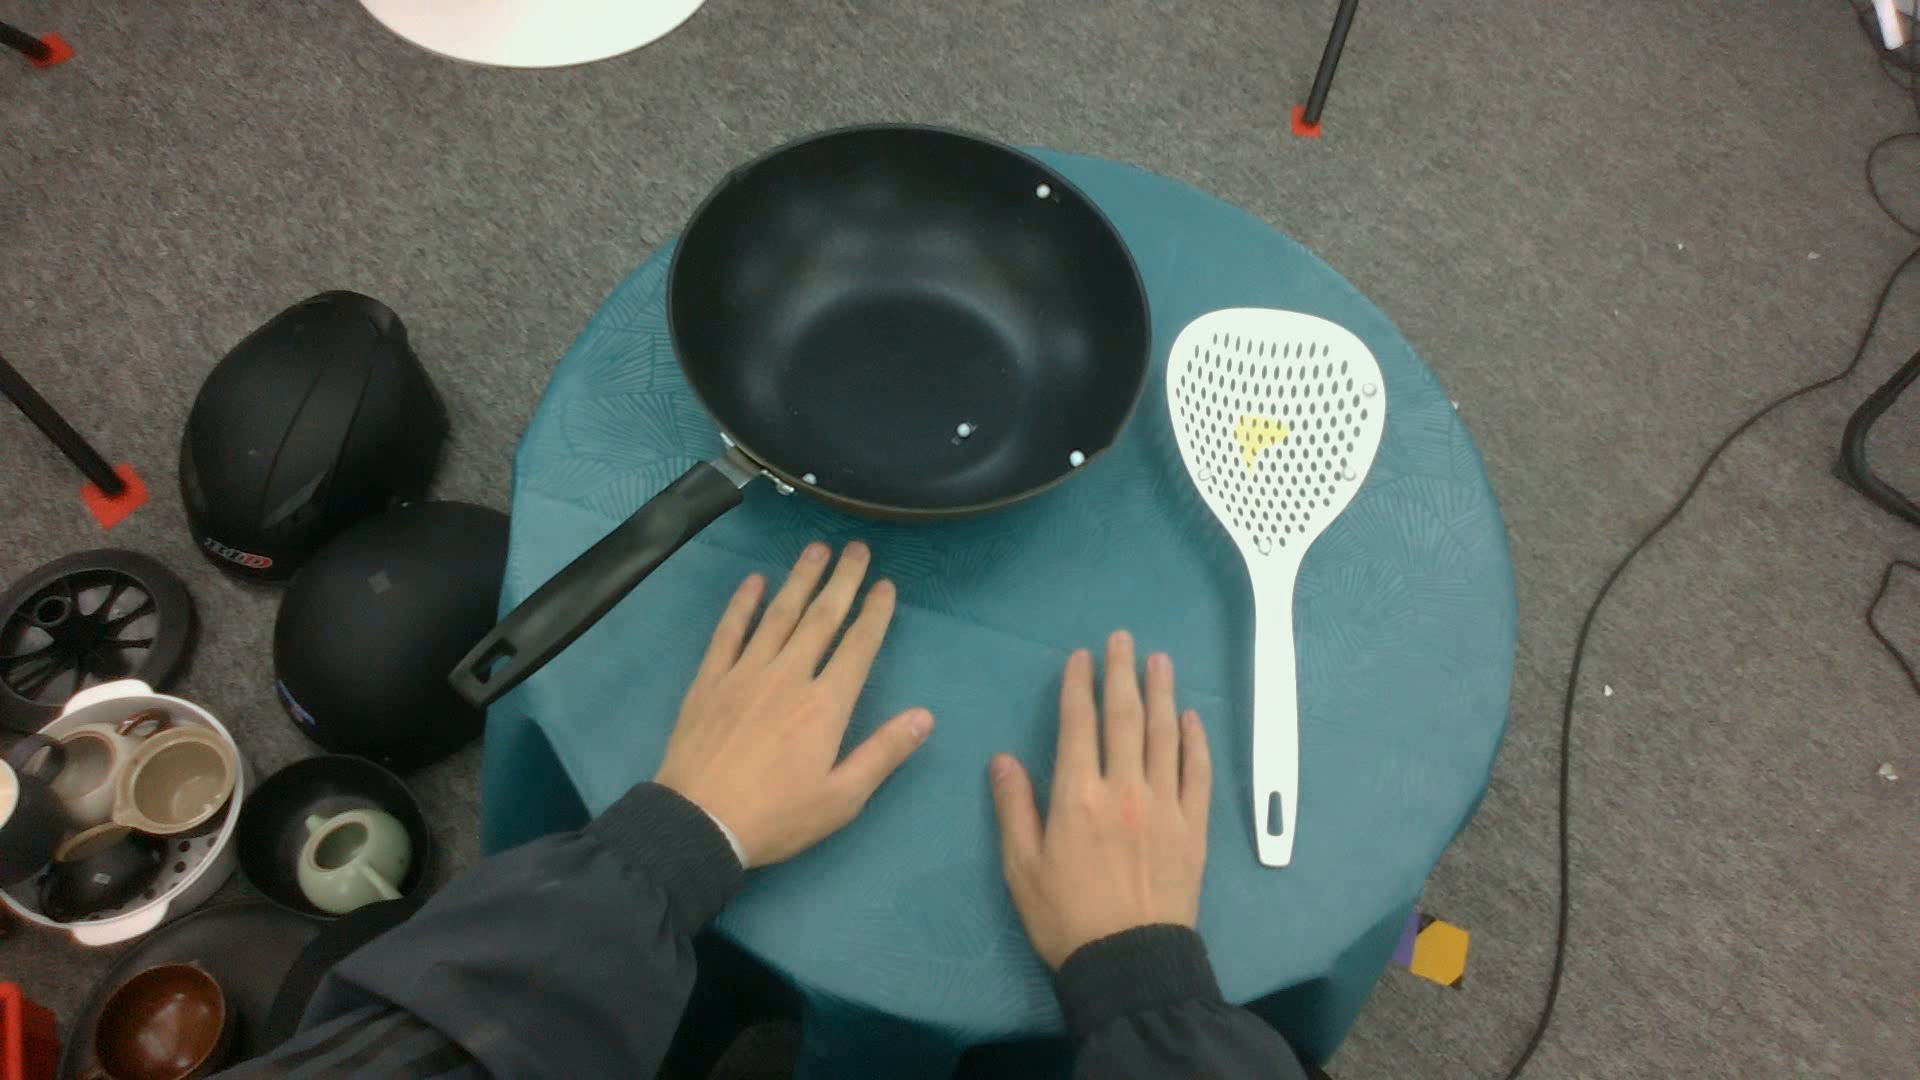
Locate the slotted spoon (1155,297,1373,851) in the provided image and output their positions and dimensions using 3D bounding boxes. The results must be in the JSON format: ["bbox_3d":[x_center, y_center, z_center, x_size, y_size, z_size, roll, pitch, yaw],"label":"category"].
[{"bbox_3d":[0.182,0.006,0.814,0.137,0.050,0.349,4,60,-2],"label":"slotted spoon"}]

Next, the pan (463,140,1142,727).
[{"bbox_3d":[-0.091,-0.050,0.798,0.288,0.086,0.465,35,64,15],"label":"pan"}]
